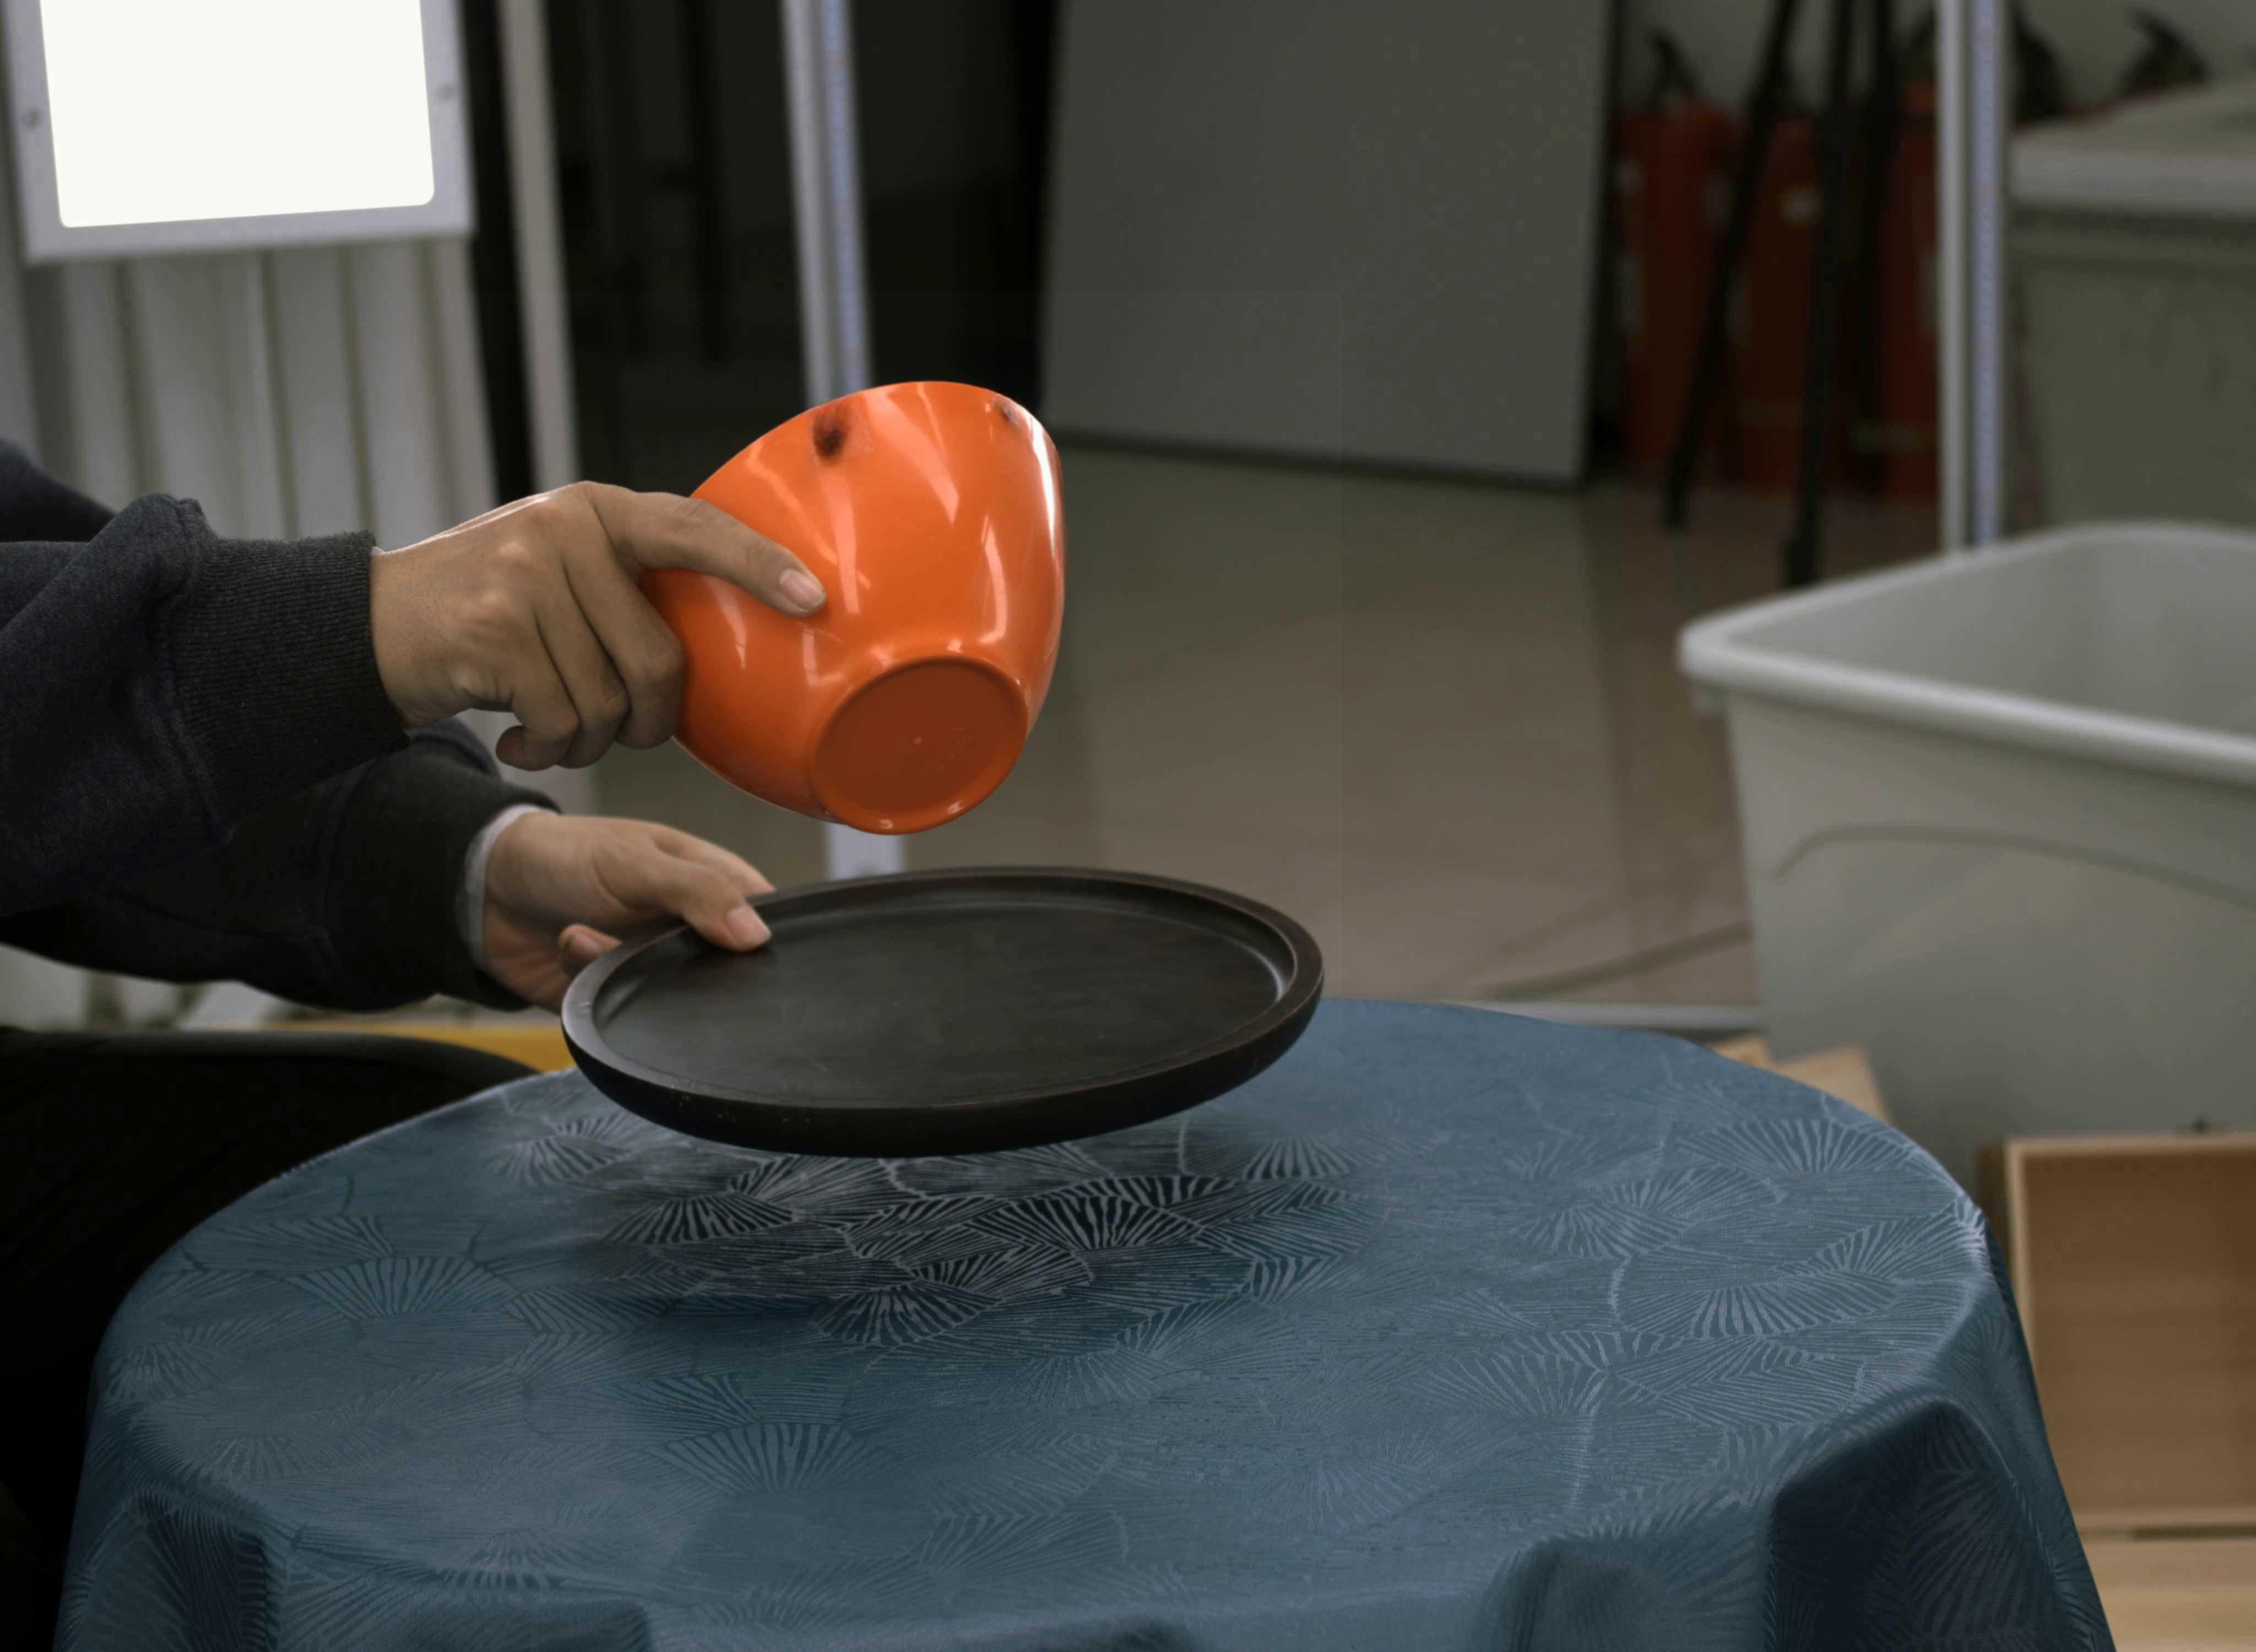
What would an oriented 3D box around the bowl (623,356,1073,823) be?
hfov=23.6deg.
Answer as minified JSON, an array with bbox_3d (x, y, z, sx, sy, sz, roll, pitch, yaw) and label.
[{"bbox_3d":[-0.069,-0.055,1.588,0.145,0.149,0.106,-8,41,-18],"label":"bowl"}]

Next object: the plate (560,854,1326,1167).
[{"bbox_3d":[-0.060,0.061,1.765,0.251,0.029,0.255,-4,17,0],"label":"plate"}]
